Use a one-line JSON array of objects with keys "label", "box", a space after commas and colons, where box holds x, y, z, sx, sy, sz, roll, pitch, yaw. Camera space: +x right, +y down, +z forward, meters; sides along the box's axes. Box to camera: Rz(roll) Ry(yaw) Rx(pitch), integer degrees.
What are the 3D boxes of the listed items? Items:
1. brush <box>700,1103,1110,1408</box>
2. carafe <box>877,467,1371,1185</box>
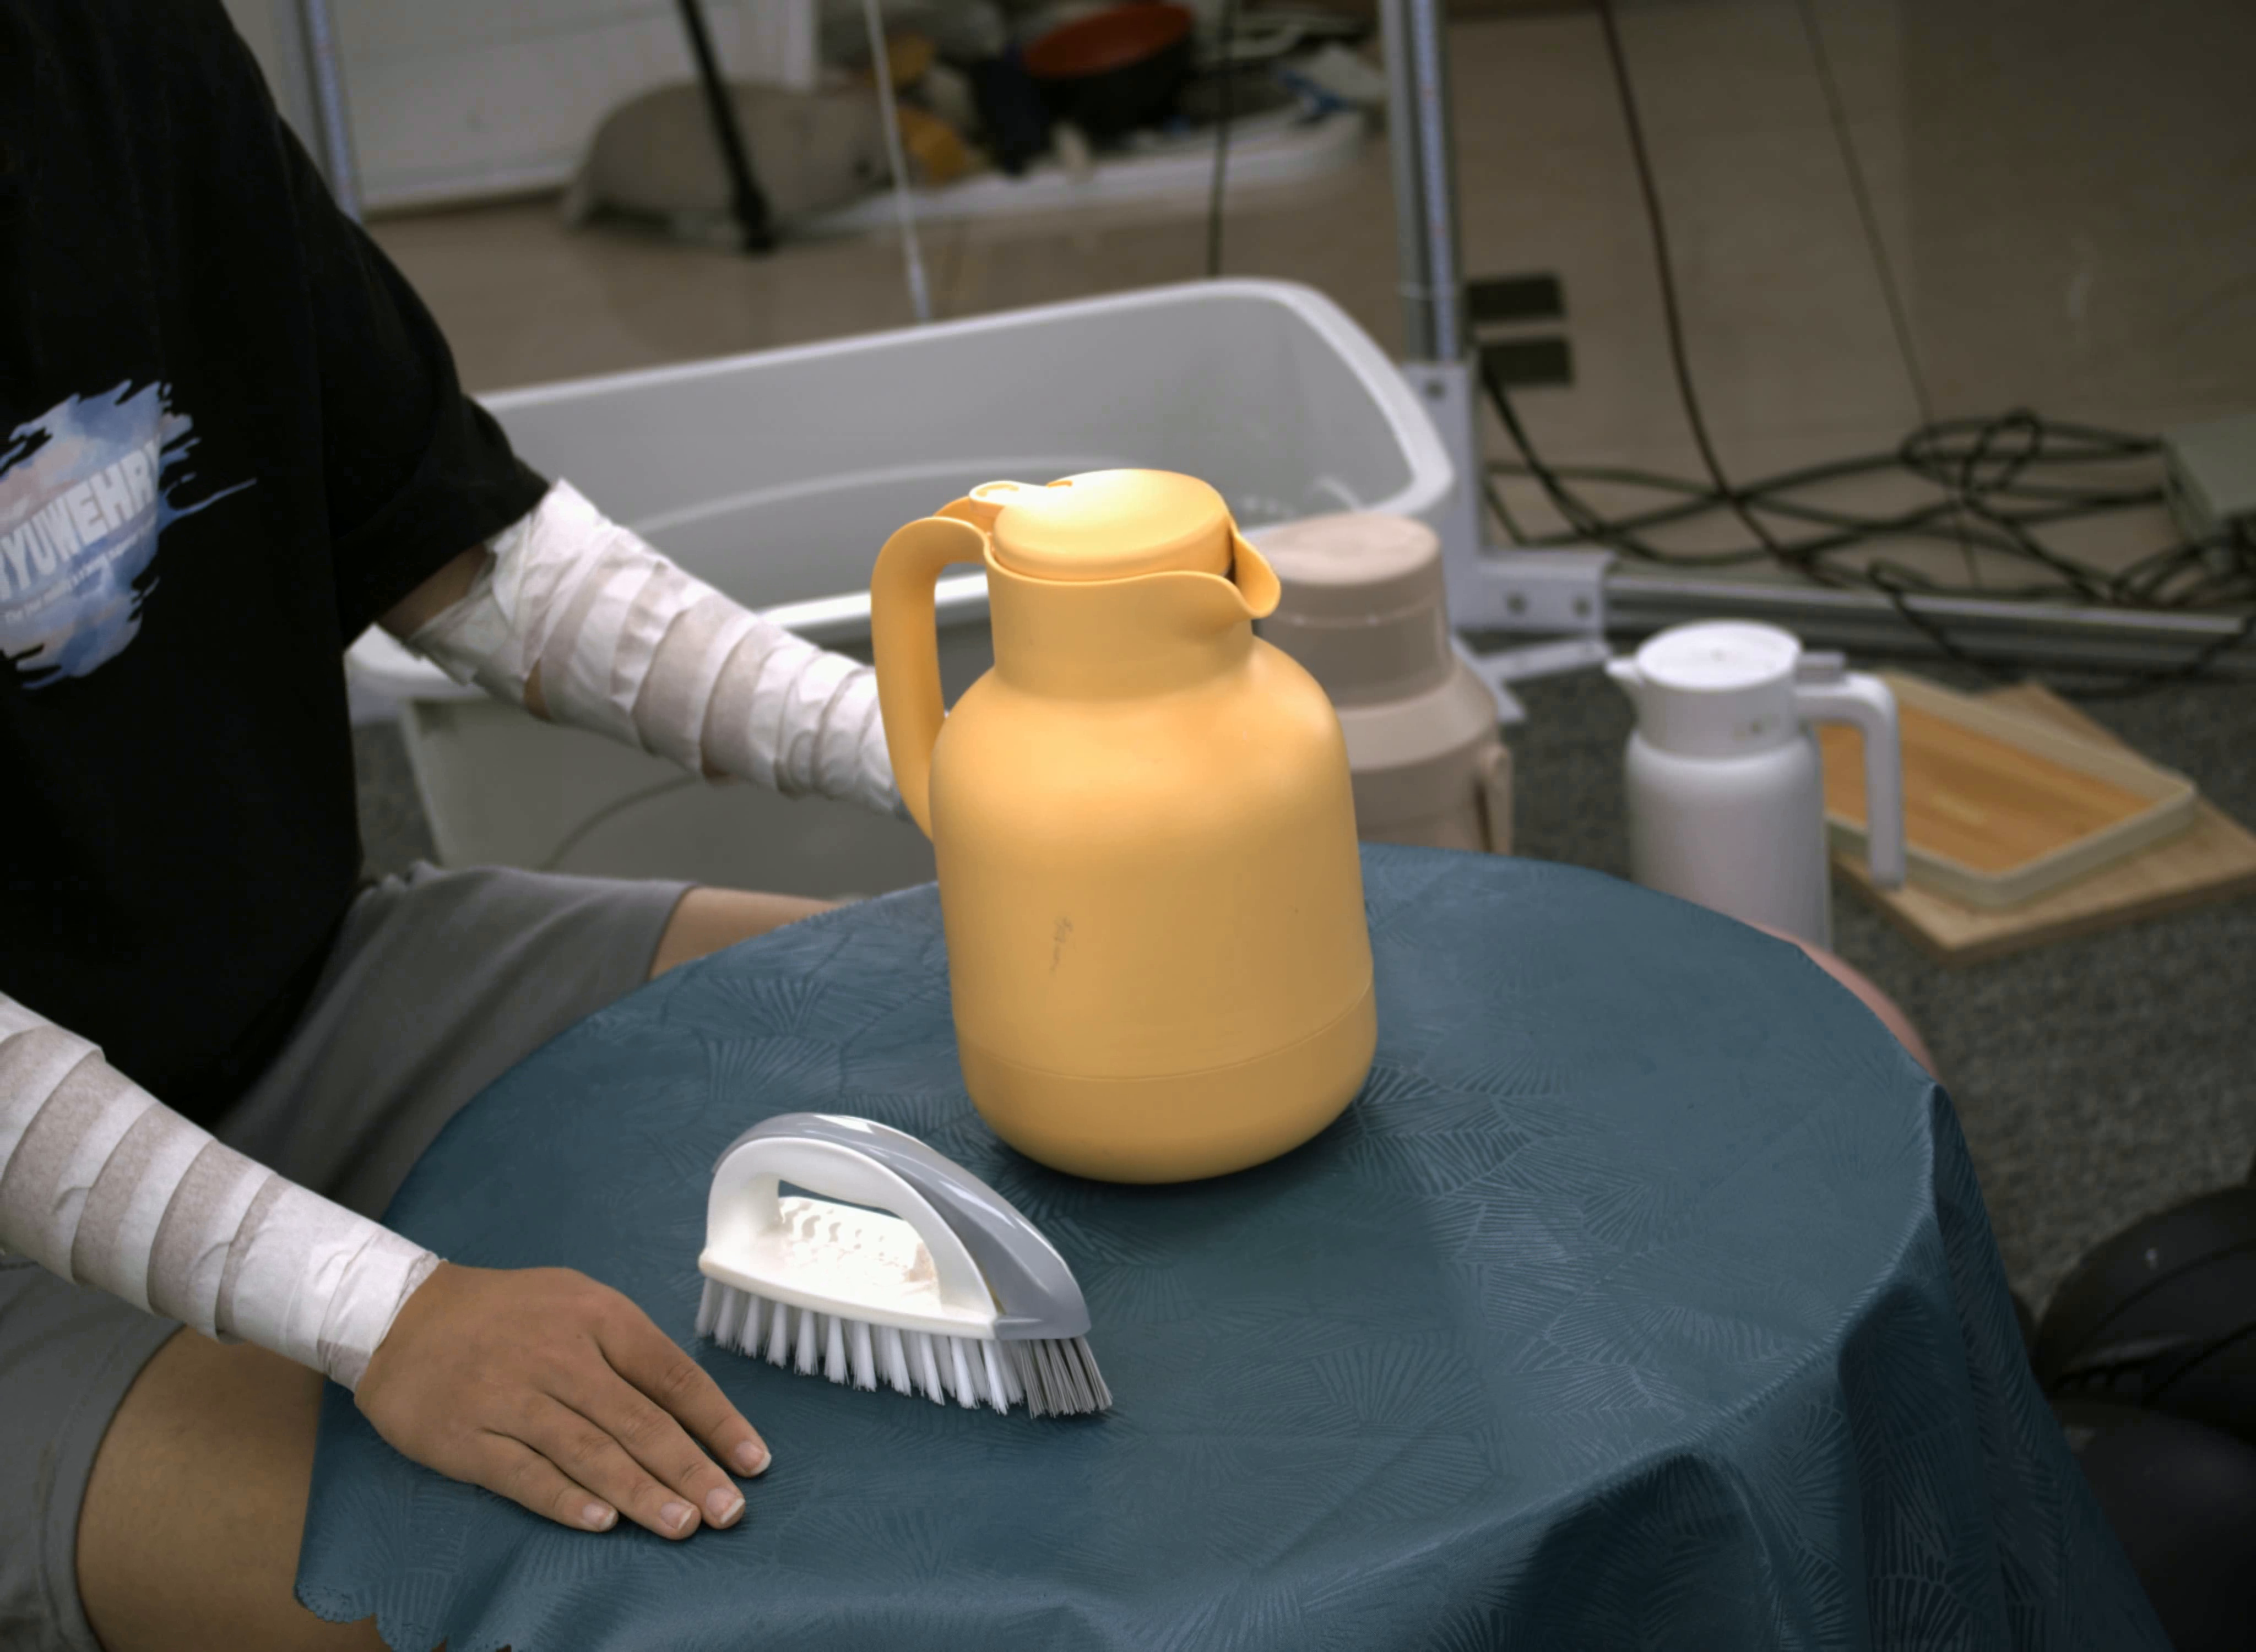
[{"label": "brush", "box": [-0.080, 0.150, 2.033, 0.174, 0.096, 0.061, 15, 34, 35]}, {"label": "carafe", "box": [-0.008, -0.009, 2.157, 0.201, 0.264, 0.162, 18, 34, 40]}]
